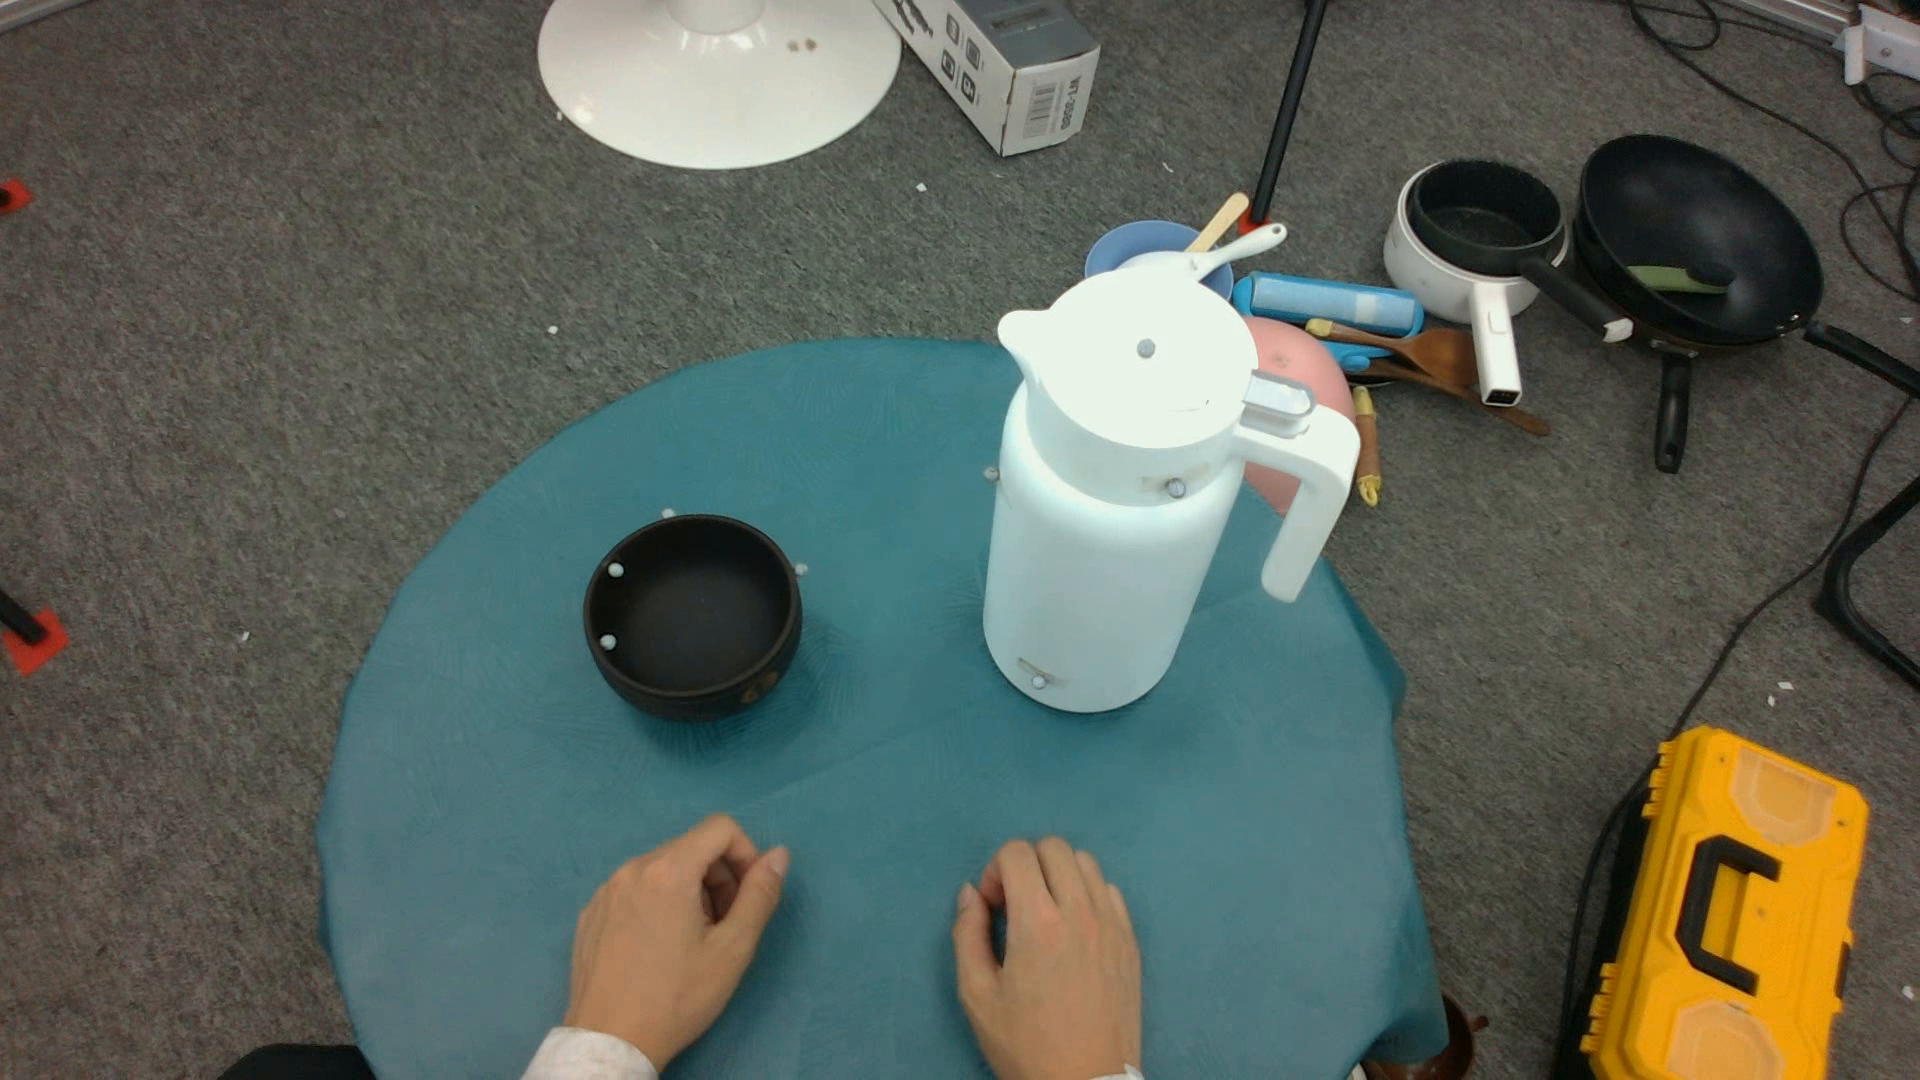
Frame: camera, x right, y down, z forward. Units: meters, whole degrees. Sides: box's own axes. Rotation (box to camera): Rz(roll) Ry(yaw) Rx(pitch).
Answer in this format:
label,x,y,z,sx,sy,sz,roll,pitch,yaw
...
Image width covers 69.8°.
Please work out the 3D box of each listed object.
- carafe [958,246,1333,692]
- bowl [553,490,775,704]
label,x,y,z,sx,sy,sz,roll,pitch,yaw
carafe,0.080,-0.021,0.711,0.173,0.267,0.124,17,58,6
bowl,-0.162,0.038,0.769,0.118,0.069,0.118,2,60,-4
